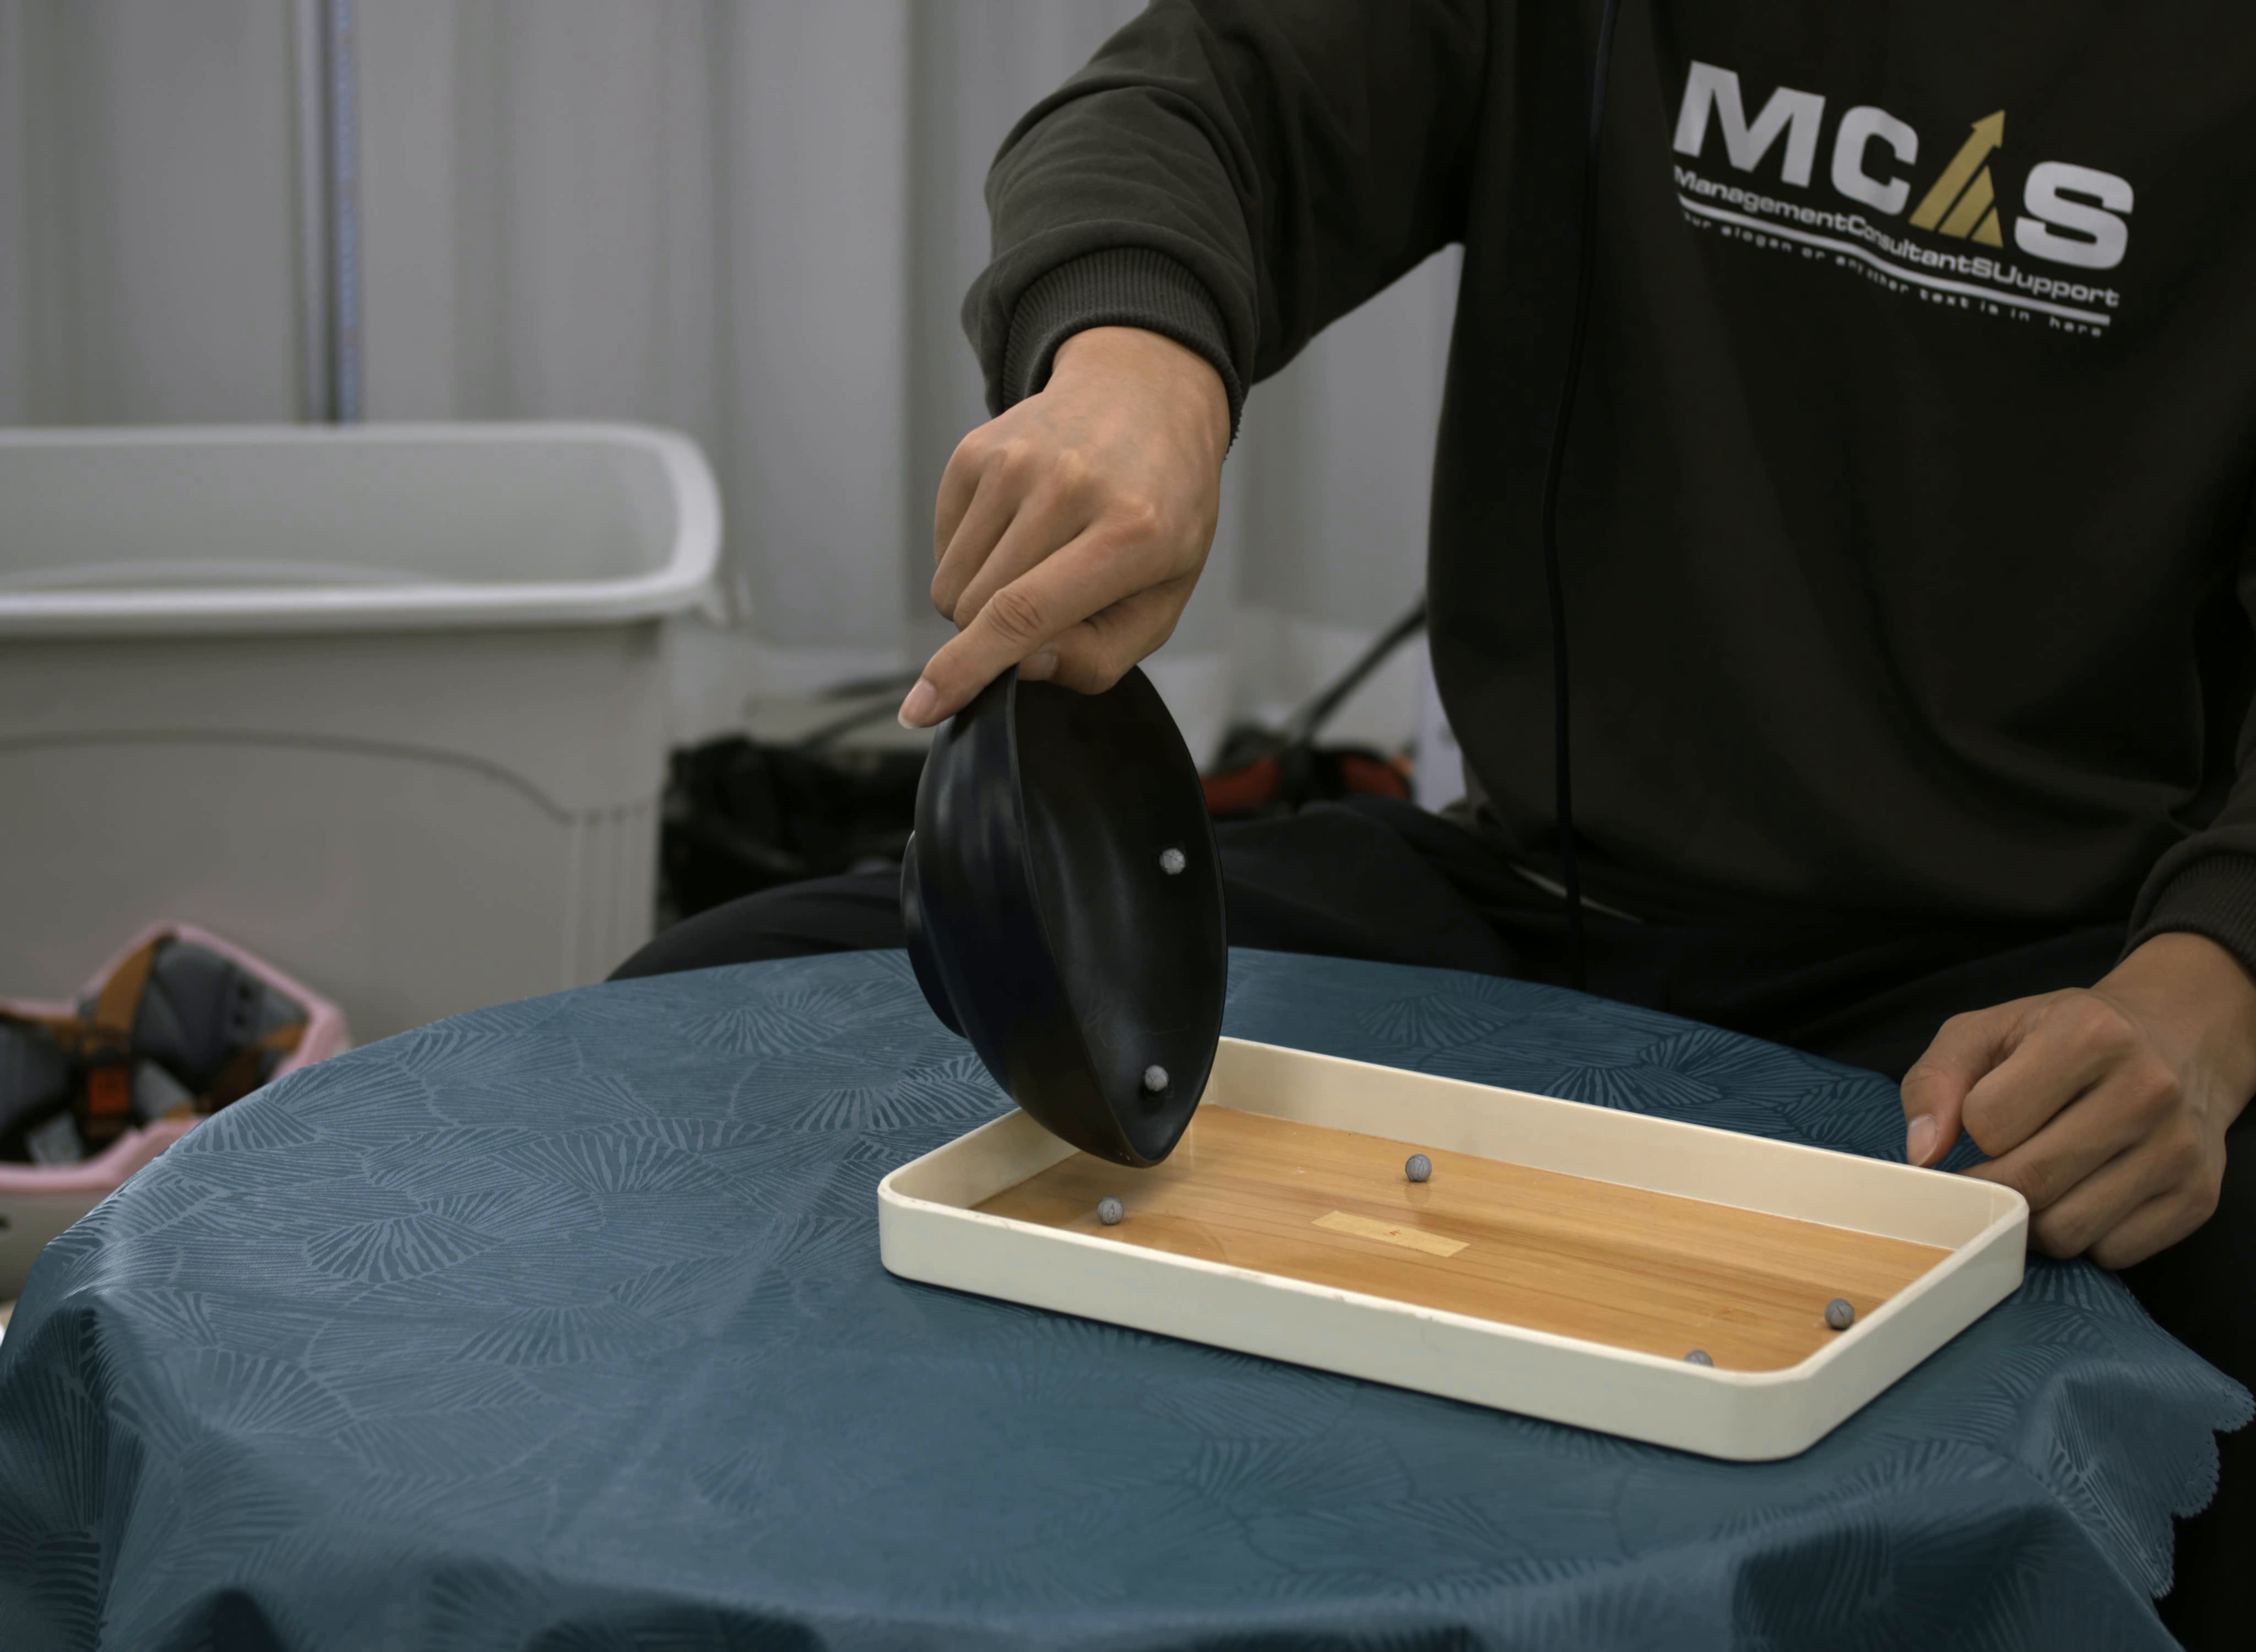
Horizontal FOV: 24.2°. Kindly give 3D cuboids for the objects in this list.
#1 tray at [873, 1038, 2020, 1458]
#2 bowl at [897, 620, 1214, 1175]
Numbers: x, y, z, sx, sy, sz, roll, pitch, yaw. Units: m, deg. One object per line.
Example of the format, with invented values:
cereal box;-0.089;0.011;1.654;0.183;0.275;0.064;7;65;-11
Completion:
tray;0.094;0.120;1.559;0.297;0.027;0.192;9;17;29
bowl;-0.027;0.023;1.603;0.066;0.172;0.137;-6;16;25
